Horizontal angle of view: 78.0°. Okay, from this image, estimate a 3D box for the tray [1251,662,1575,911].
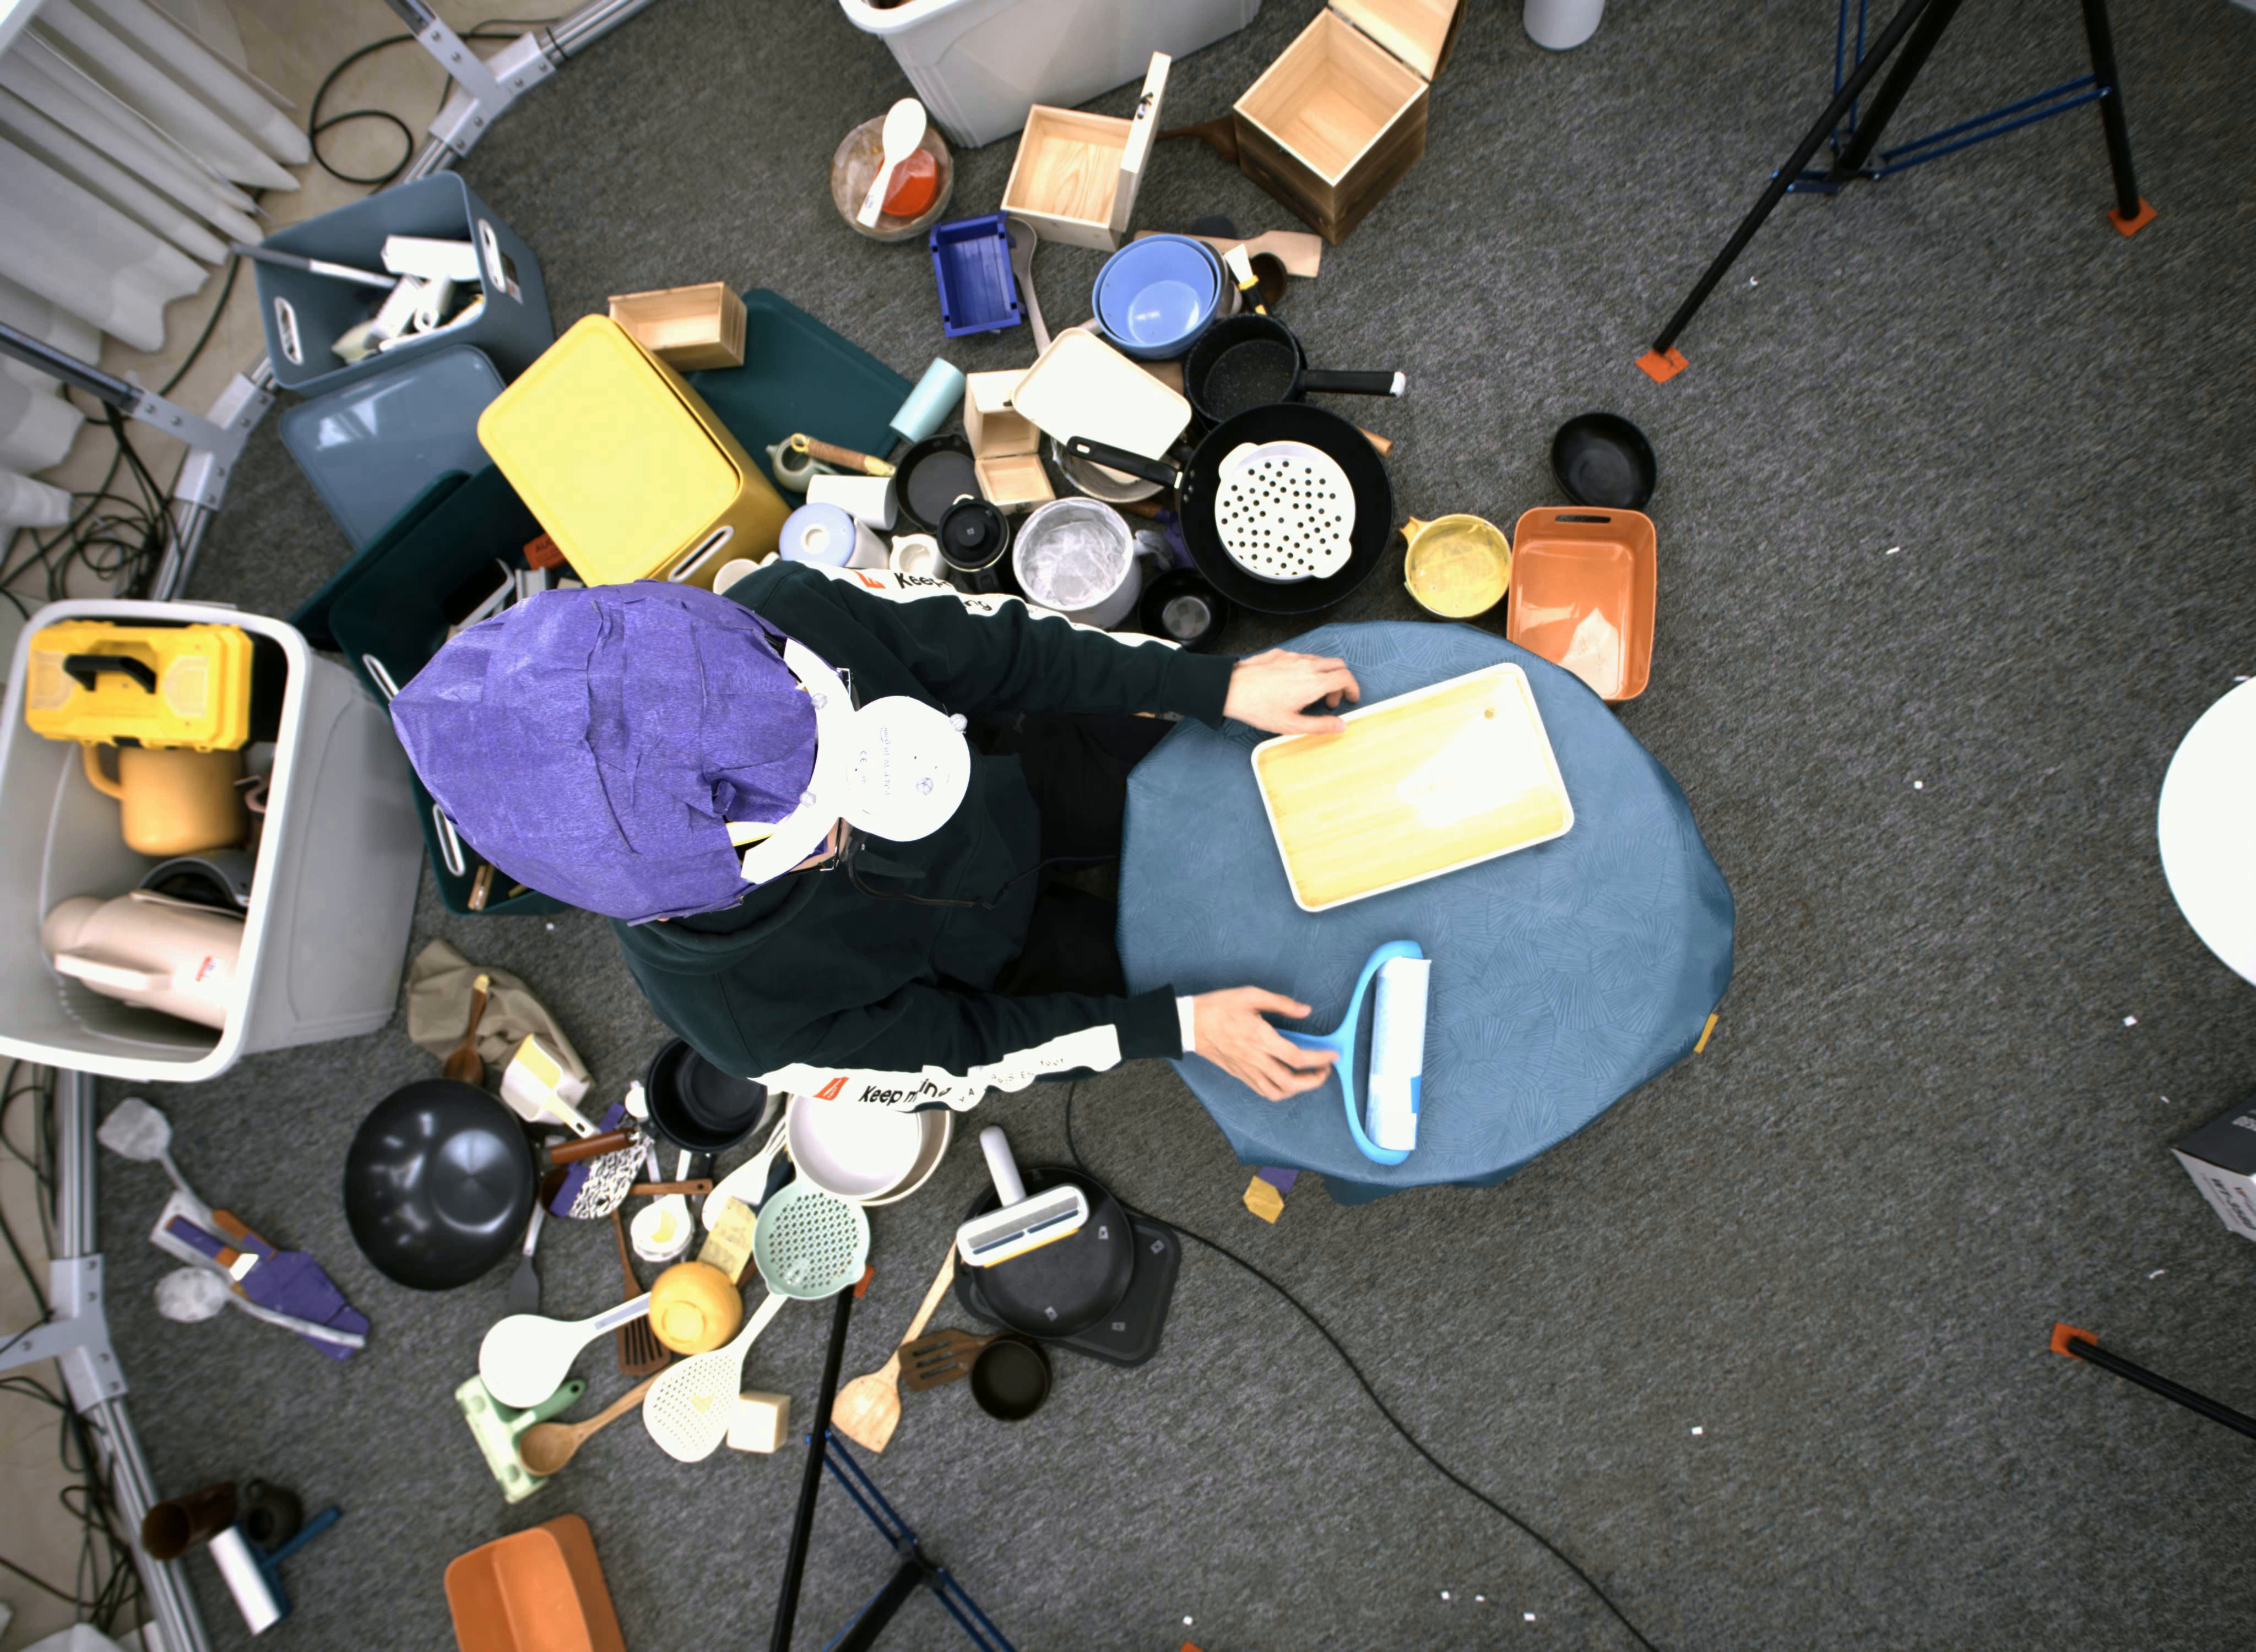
[{"bbox_3d":[0.295,-0.042,1.443,0.302,0.027,0.190,-18,84,9],"label":"tray"}]

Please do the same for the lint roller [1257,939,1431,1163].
[{"bbox_3d":[0.222,0.229,1.429,0.181,0.068,0.228,0,89,10],"label":"lint roller"}]
